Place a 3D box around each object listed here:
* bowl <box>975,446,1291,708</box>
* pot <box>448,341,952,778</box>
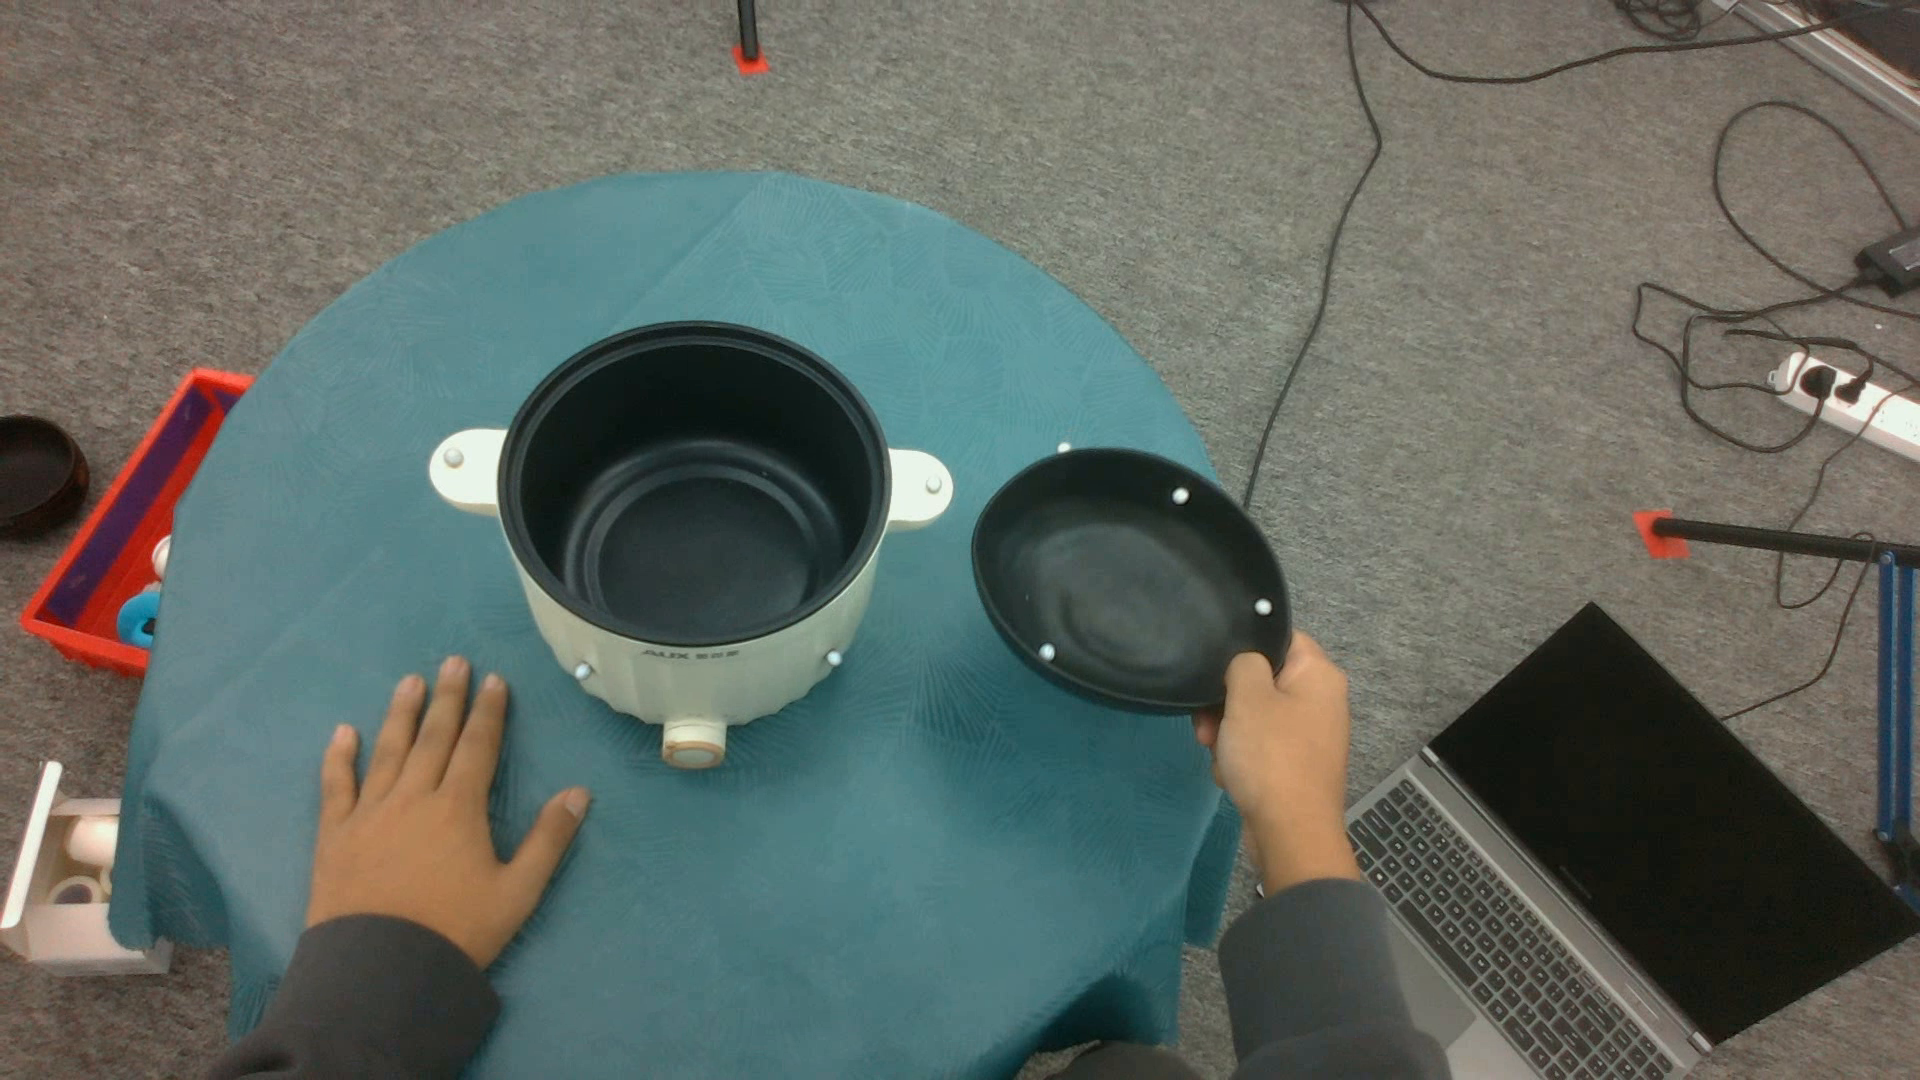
[{"bbox_3d":[0.088,0.027,0.723,0.170,0.066,0.138,19,63,3],"label":"bowl"},{"bbox_3d":[-0.127,0.013,0.715,0.240,0.142,0.191,-2,56,-7],"label":"pot"}]
